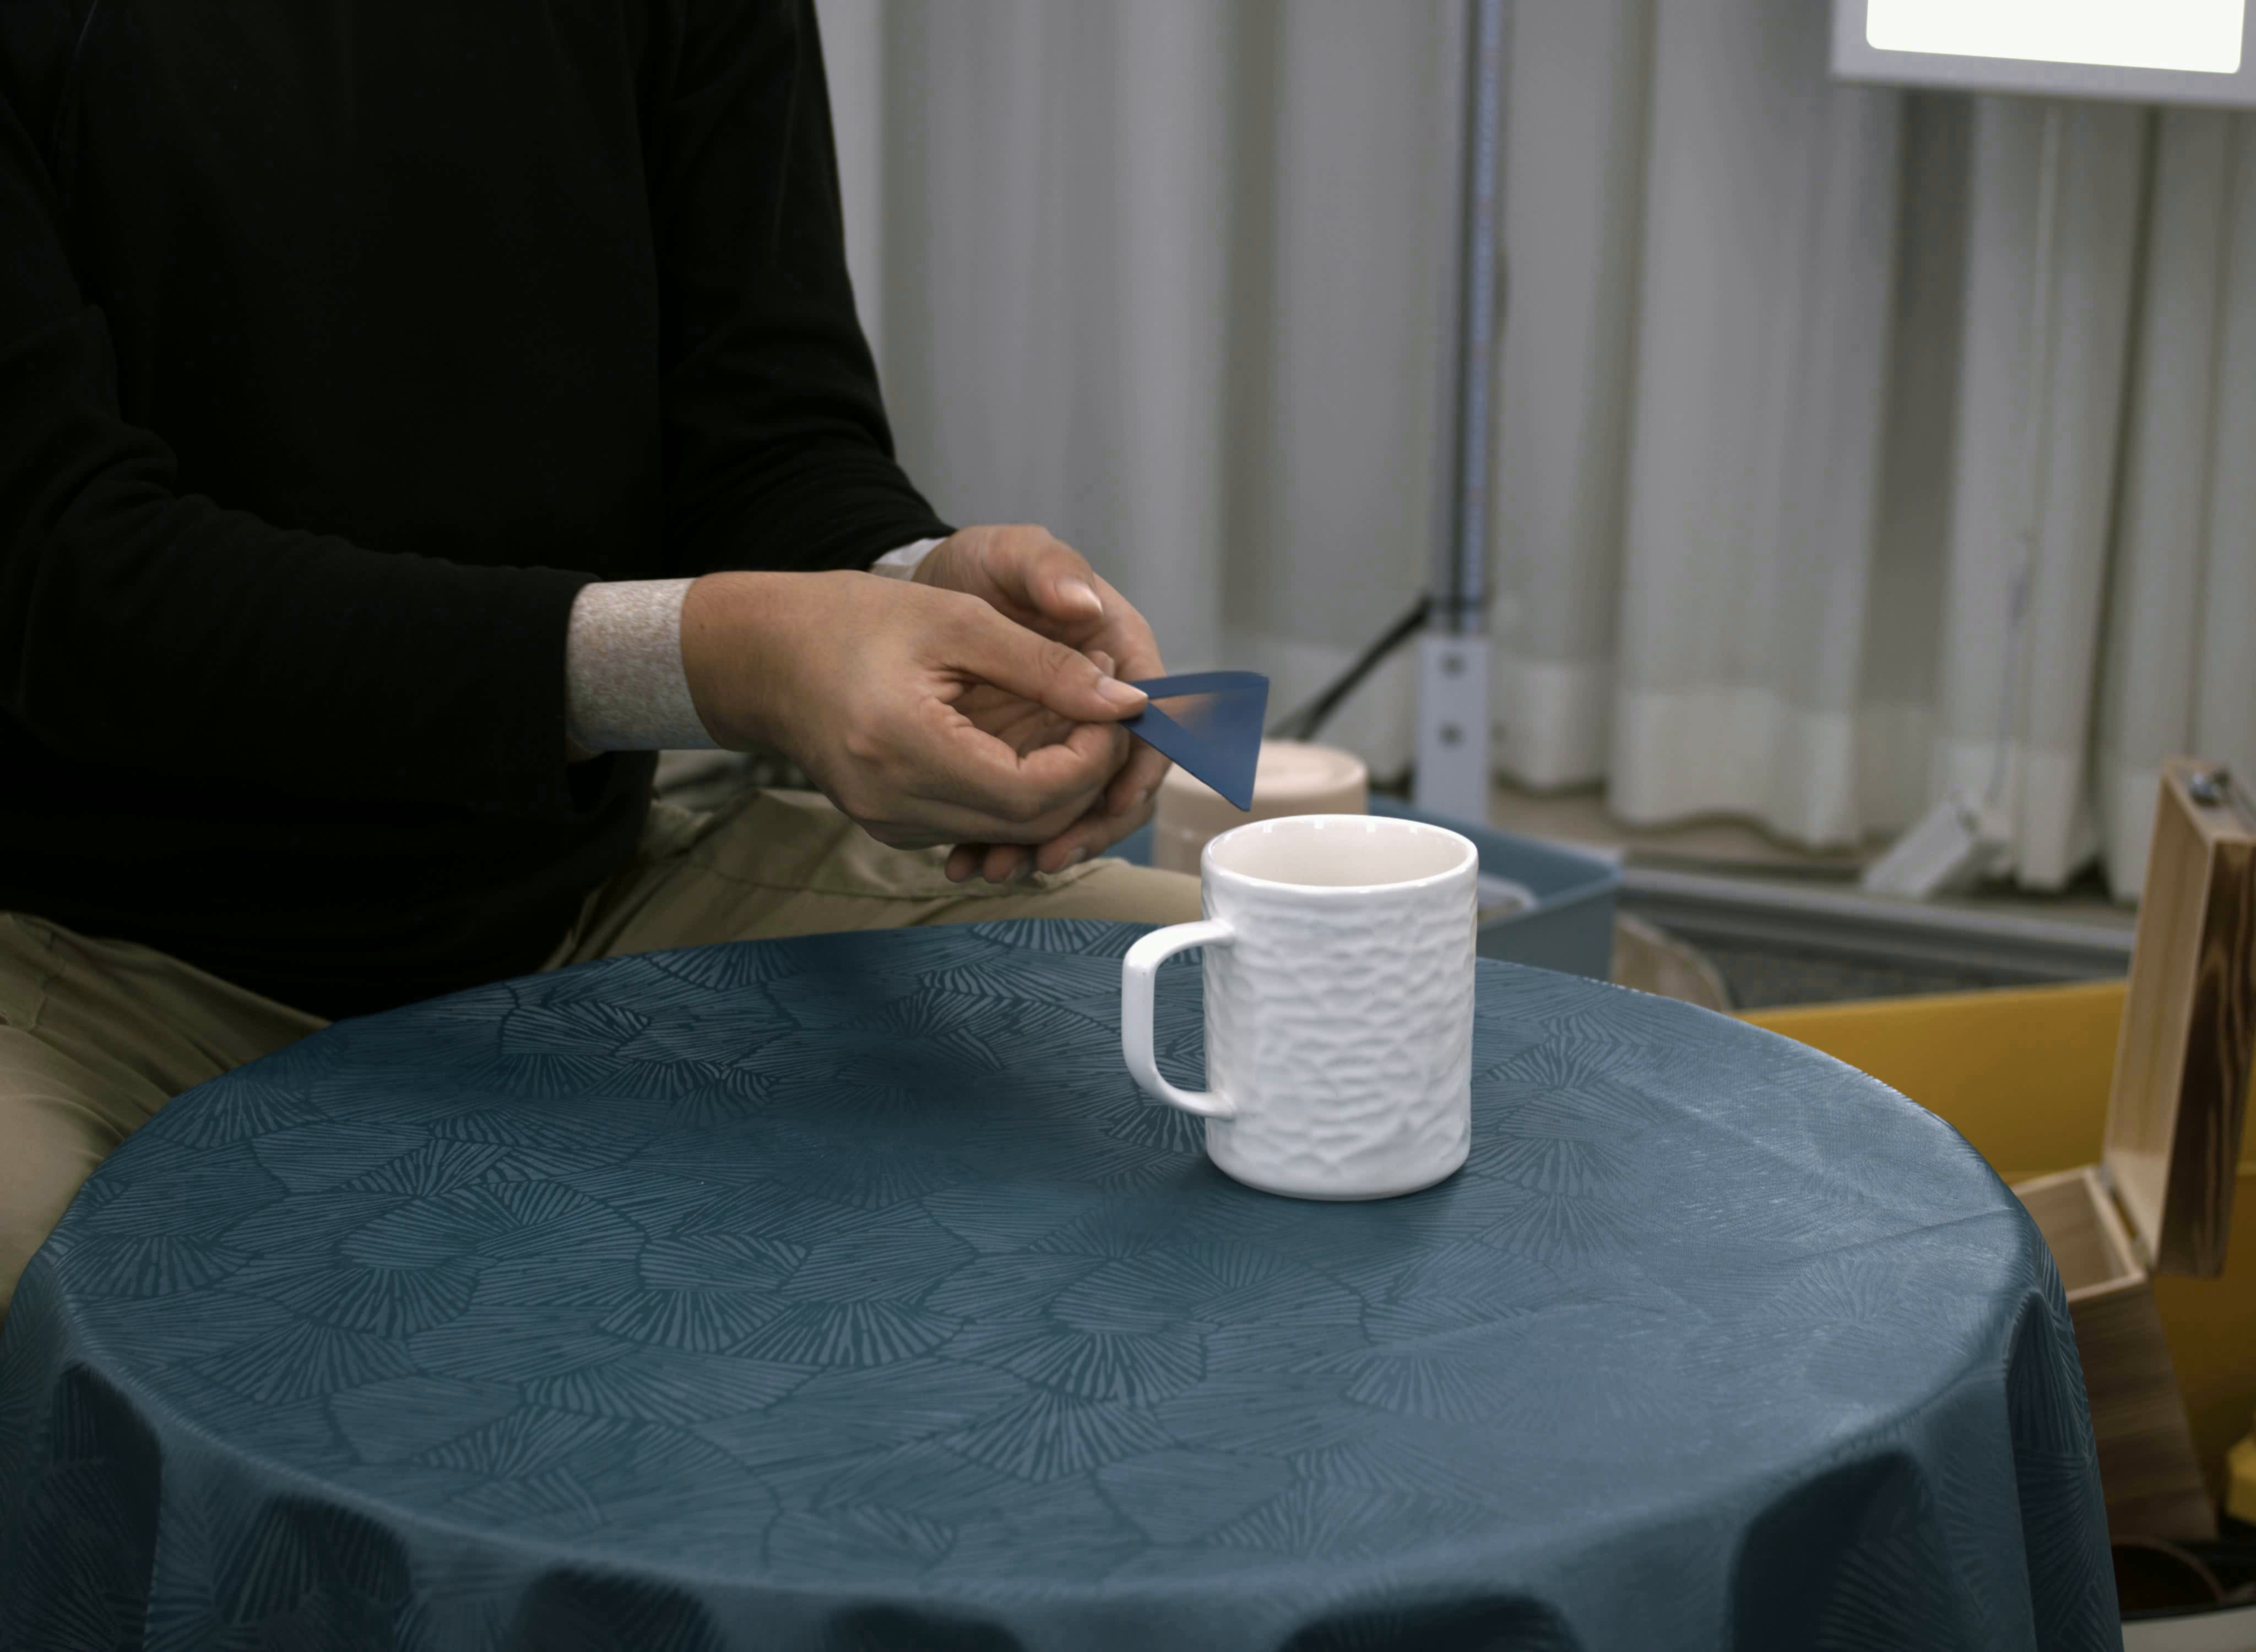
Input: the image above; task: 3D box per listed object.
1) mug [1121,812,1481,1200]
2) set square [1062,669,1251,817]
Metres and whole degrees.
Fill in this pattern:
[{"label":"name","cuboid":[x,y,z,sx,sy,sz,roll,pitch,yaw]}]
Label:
[{"label":"mug","cuboid":[0.052,0.058,1.627,0.119,0.103,0.084,-8,18,-29]},{"label":"set square","cuboid":[0.004,-0.029,1.639,0.061,0.006,0.131,6,21,6]}]
